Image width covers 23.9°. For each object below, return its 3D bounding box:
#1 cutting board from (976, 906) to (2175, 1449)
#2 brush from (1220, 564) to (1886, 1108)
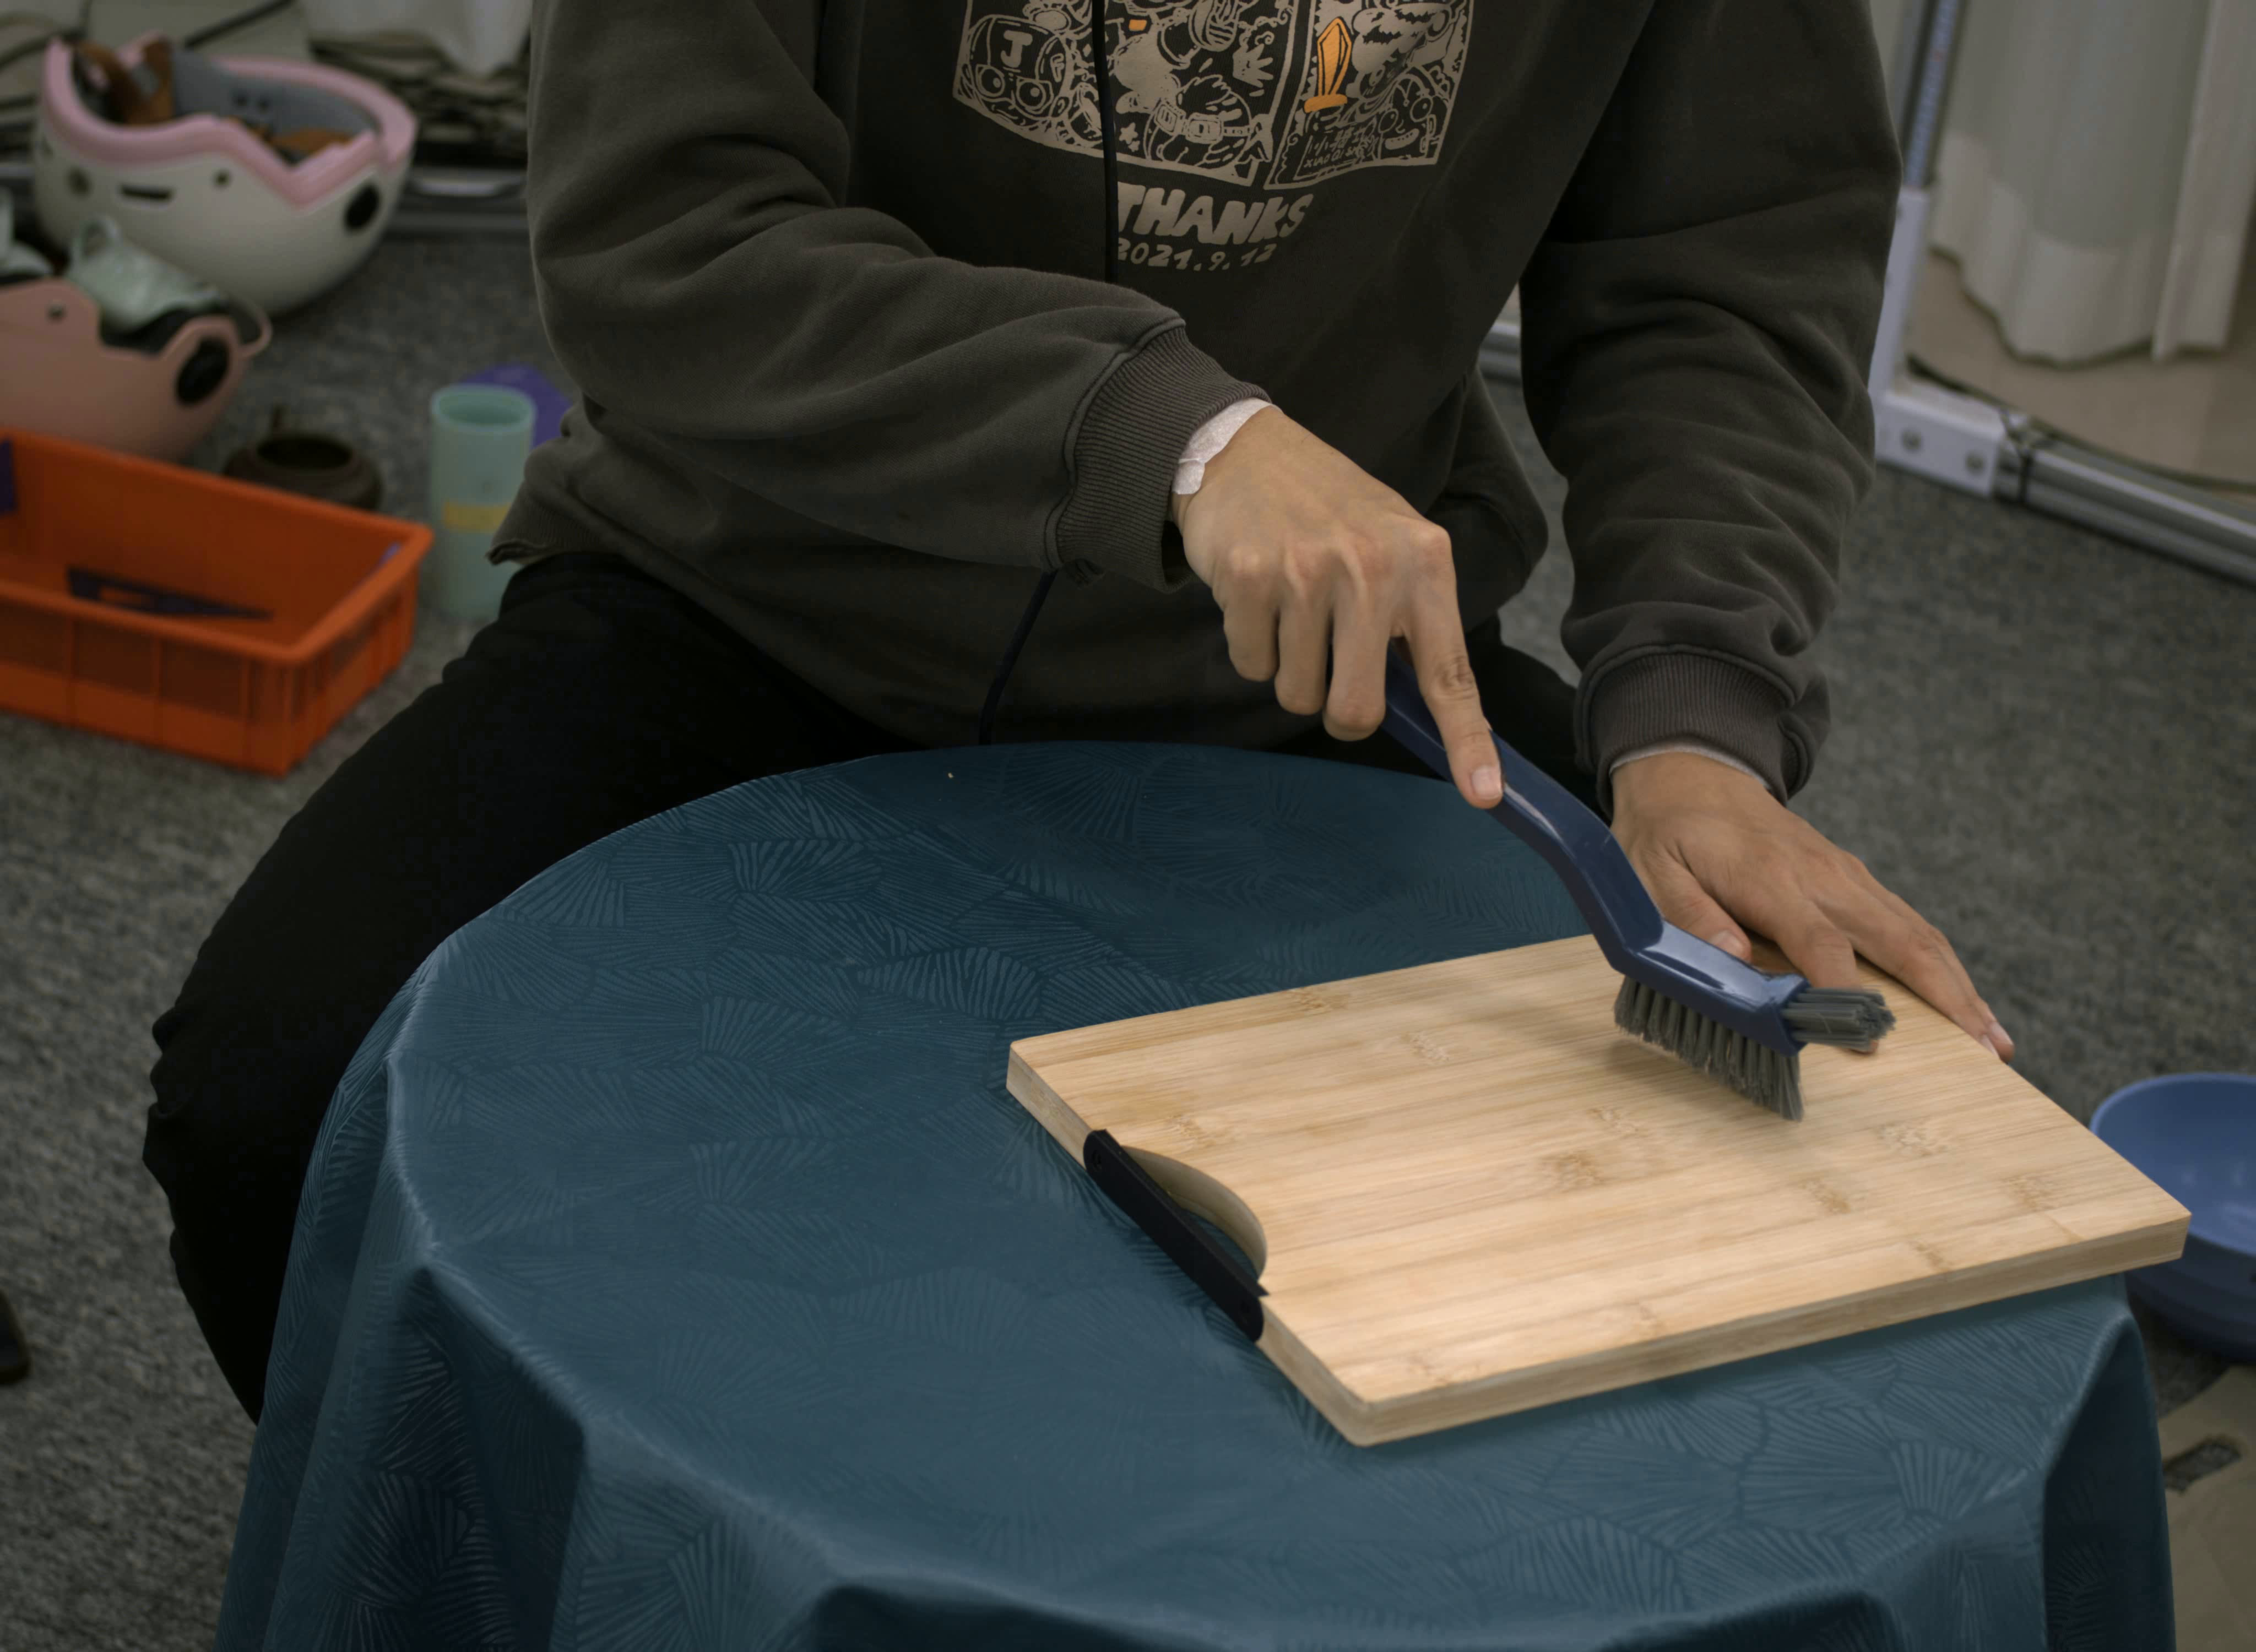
[{"bbox_3d":[0.156,0.114,1.840,0.346,0.023,0.253,-9,30,-29],"label":"cutting board"},{"bbox_3d":[0.146,-0.007,1.870,0.274,0.095,0.033,45,51,10],"label":"brush"}]
